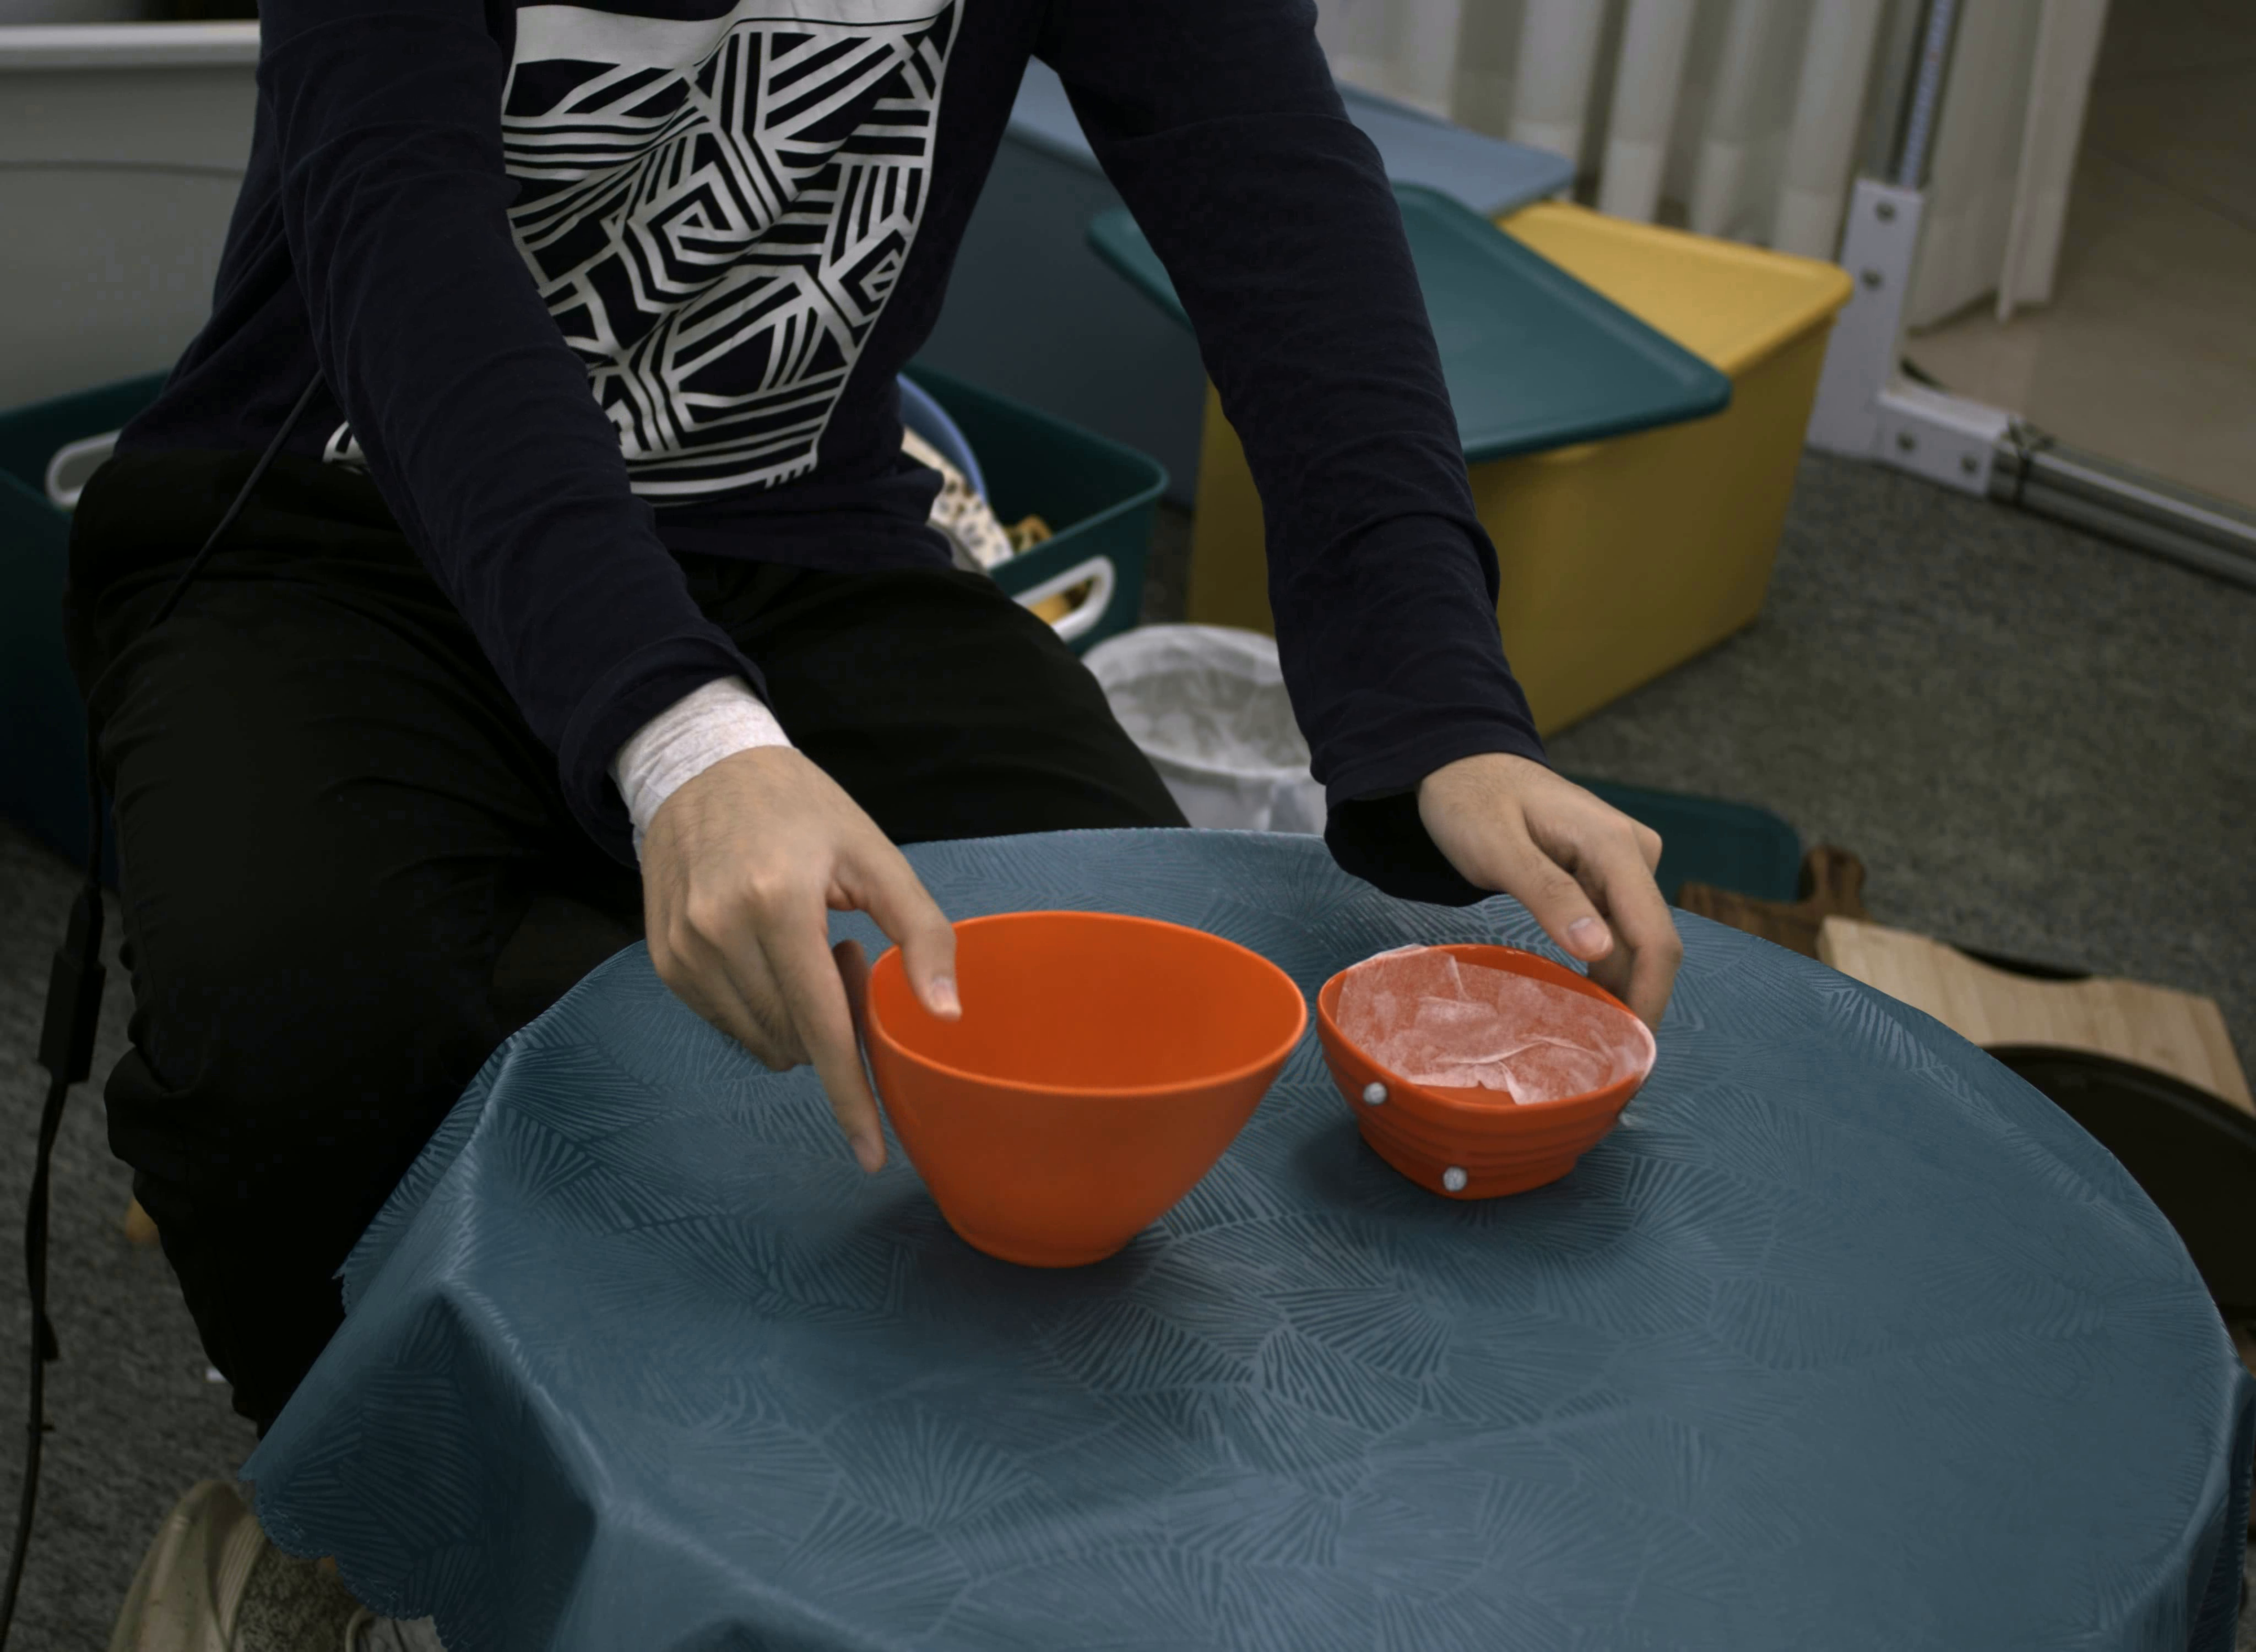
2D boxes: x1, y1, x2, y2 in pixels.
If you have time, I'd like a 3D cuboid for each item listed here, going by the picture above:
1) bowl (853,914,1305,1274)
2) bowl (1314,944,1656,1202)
[{"bbox_3d":[-0.021,0.093,1.749,0.147,0.104,0.149,5,30,-3],"label":"bowl"},{"bbox_3d":[0.121,0.090,1.846,0.118,0.051,0.119,3,27,-2],"label":"bowl"}]
